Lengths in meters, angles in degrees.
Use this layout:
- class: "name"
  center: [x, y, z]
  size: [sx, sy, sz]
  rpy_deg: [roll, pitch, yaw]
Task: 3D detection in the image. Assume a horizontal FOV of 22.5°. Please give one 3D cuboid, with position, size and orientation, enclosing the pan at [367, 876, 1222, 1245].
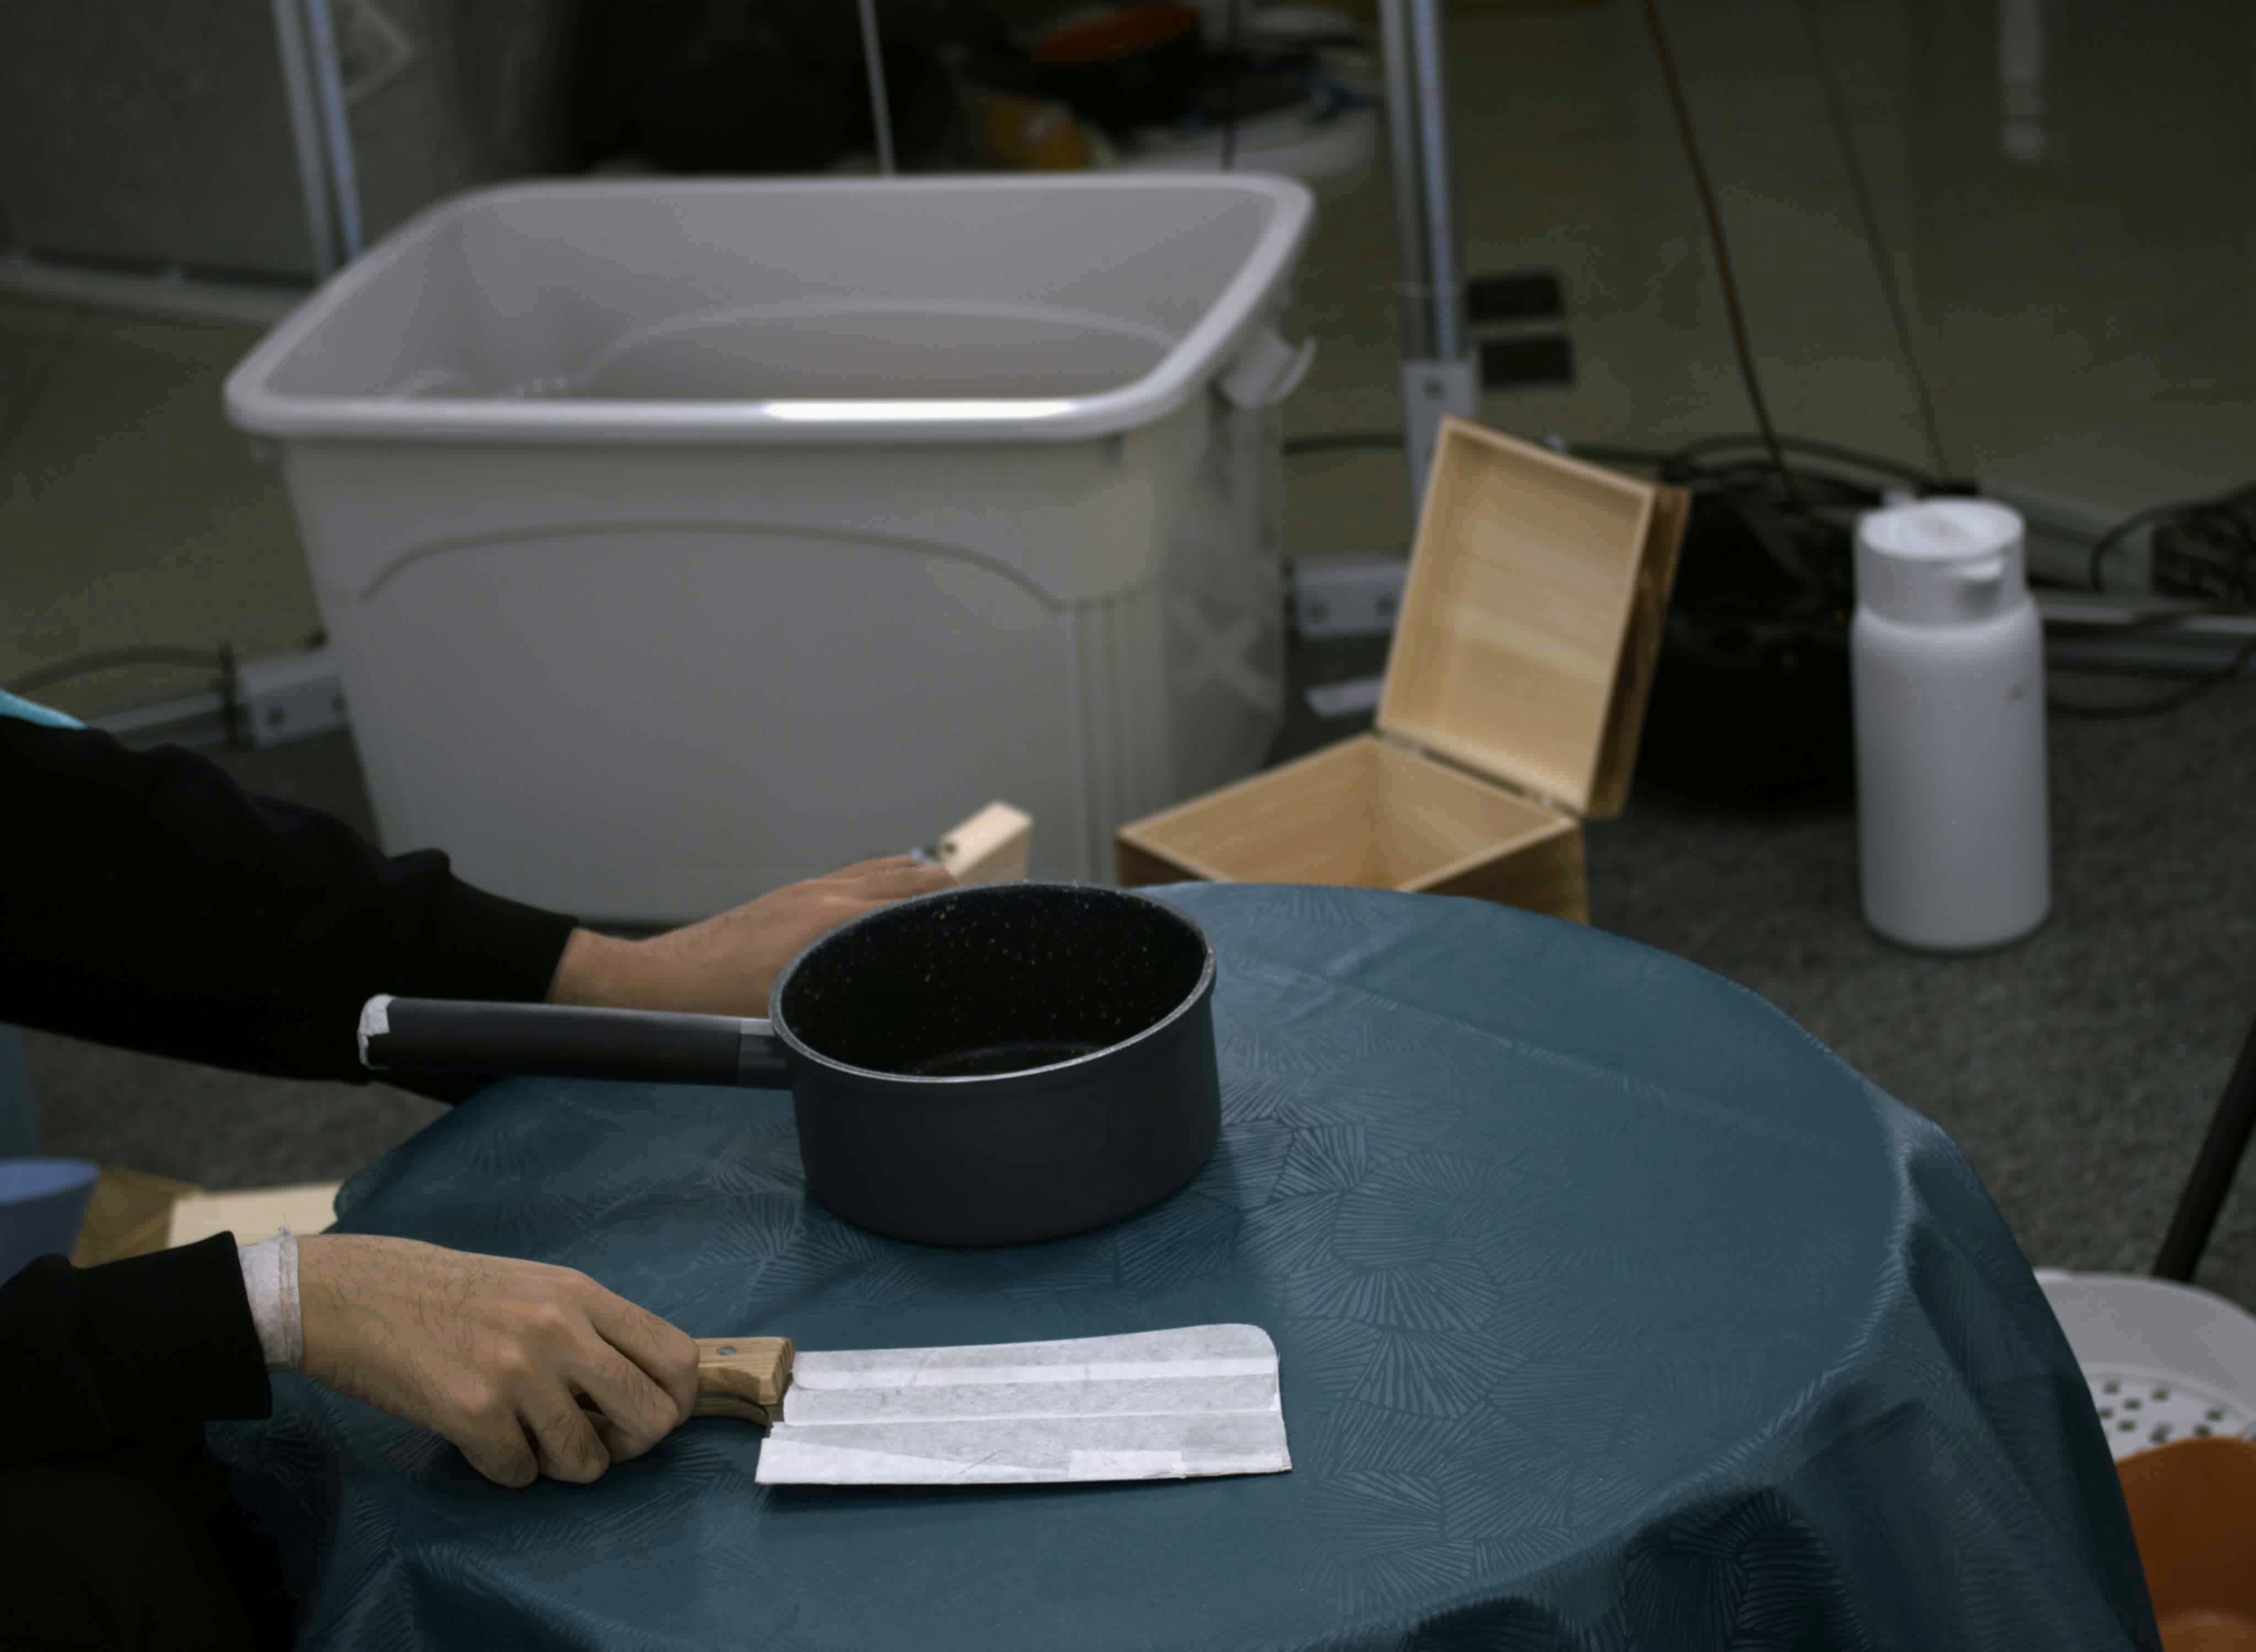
- class: "pan"
  center: [-0.126, 0.094, 2.174]
  size: [0.328, 0.088, 0.169]
  rpy_deg: [-3, 23, 5]

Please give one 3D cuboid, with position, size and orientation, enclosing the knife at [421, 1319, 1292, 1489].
- class: "knife"
  center: [-0.096, 0.204, 2.010]
  size: [0.315, 0.022, 0.112]
  rpy_deg: [-1, 26, 6]
